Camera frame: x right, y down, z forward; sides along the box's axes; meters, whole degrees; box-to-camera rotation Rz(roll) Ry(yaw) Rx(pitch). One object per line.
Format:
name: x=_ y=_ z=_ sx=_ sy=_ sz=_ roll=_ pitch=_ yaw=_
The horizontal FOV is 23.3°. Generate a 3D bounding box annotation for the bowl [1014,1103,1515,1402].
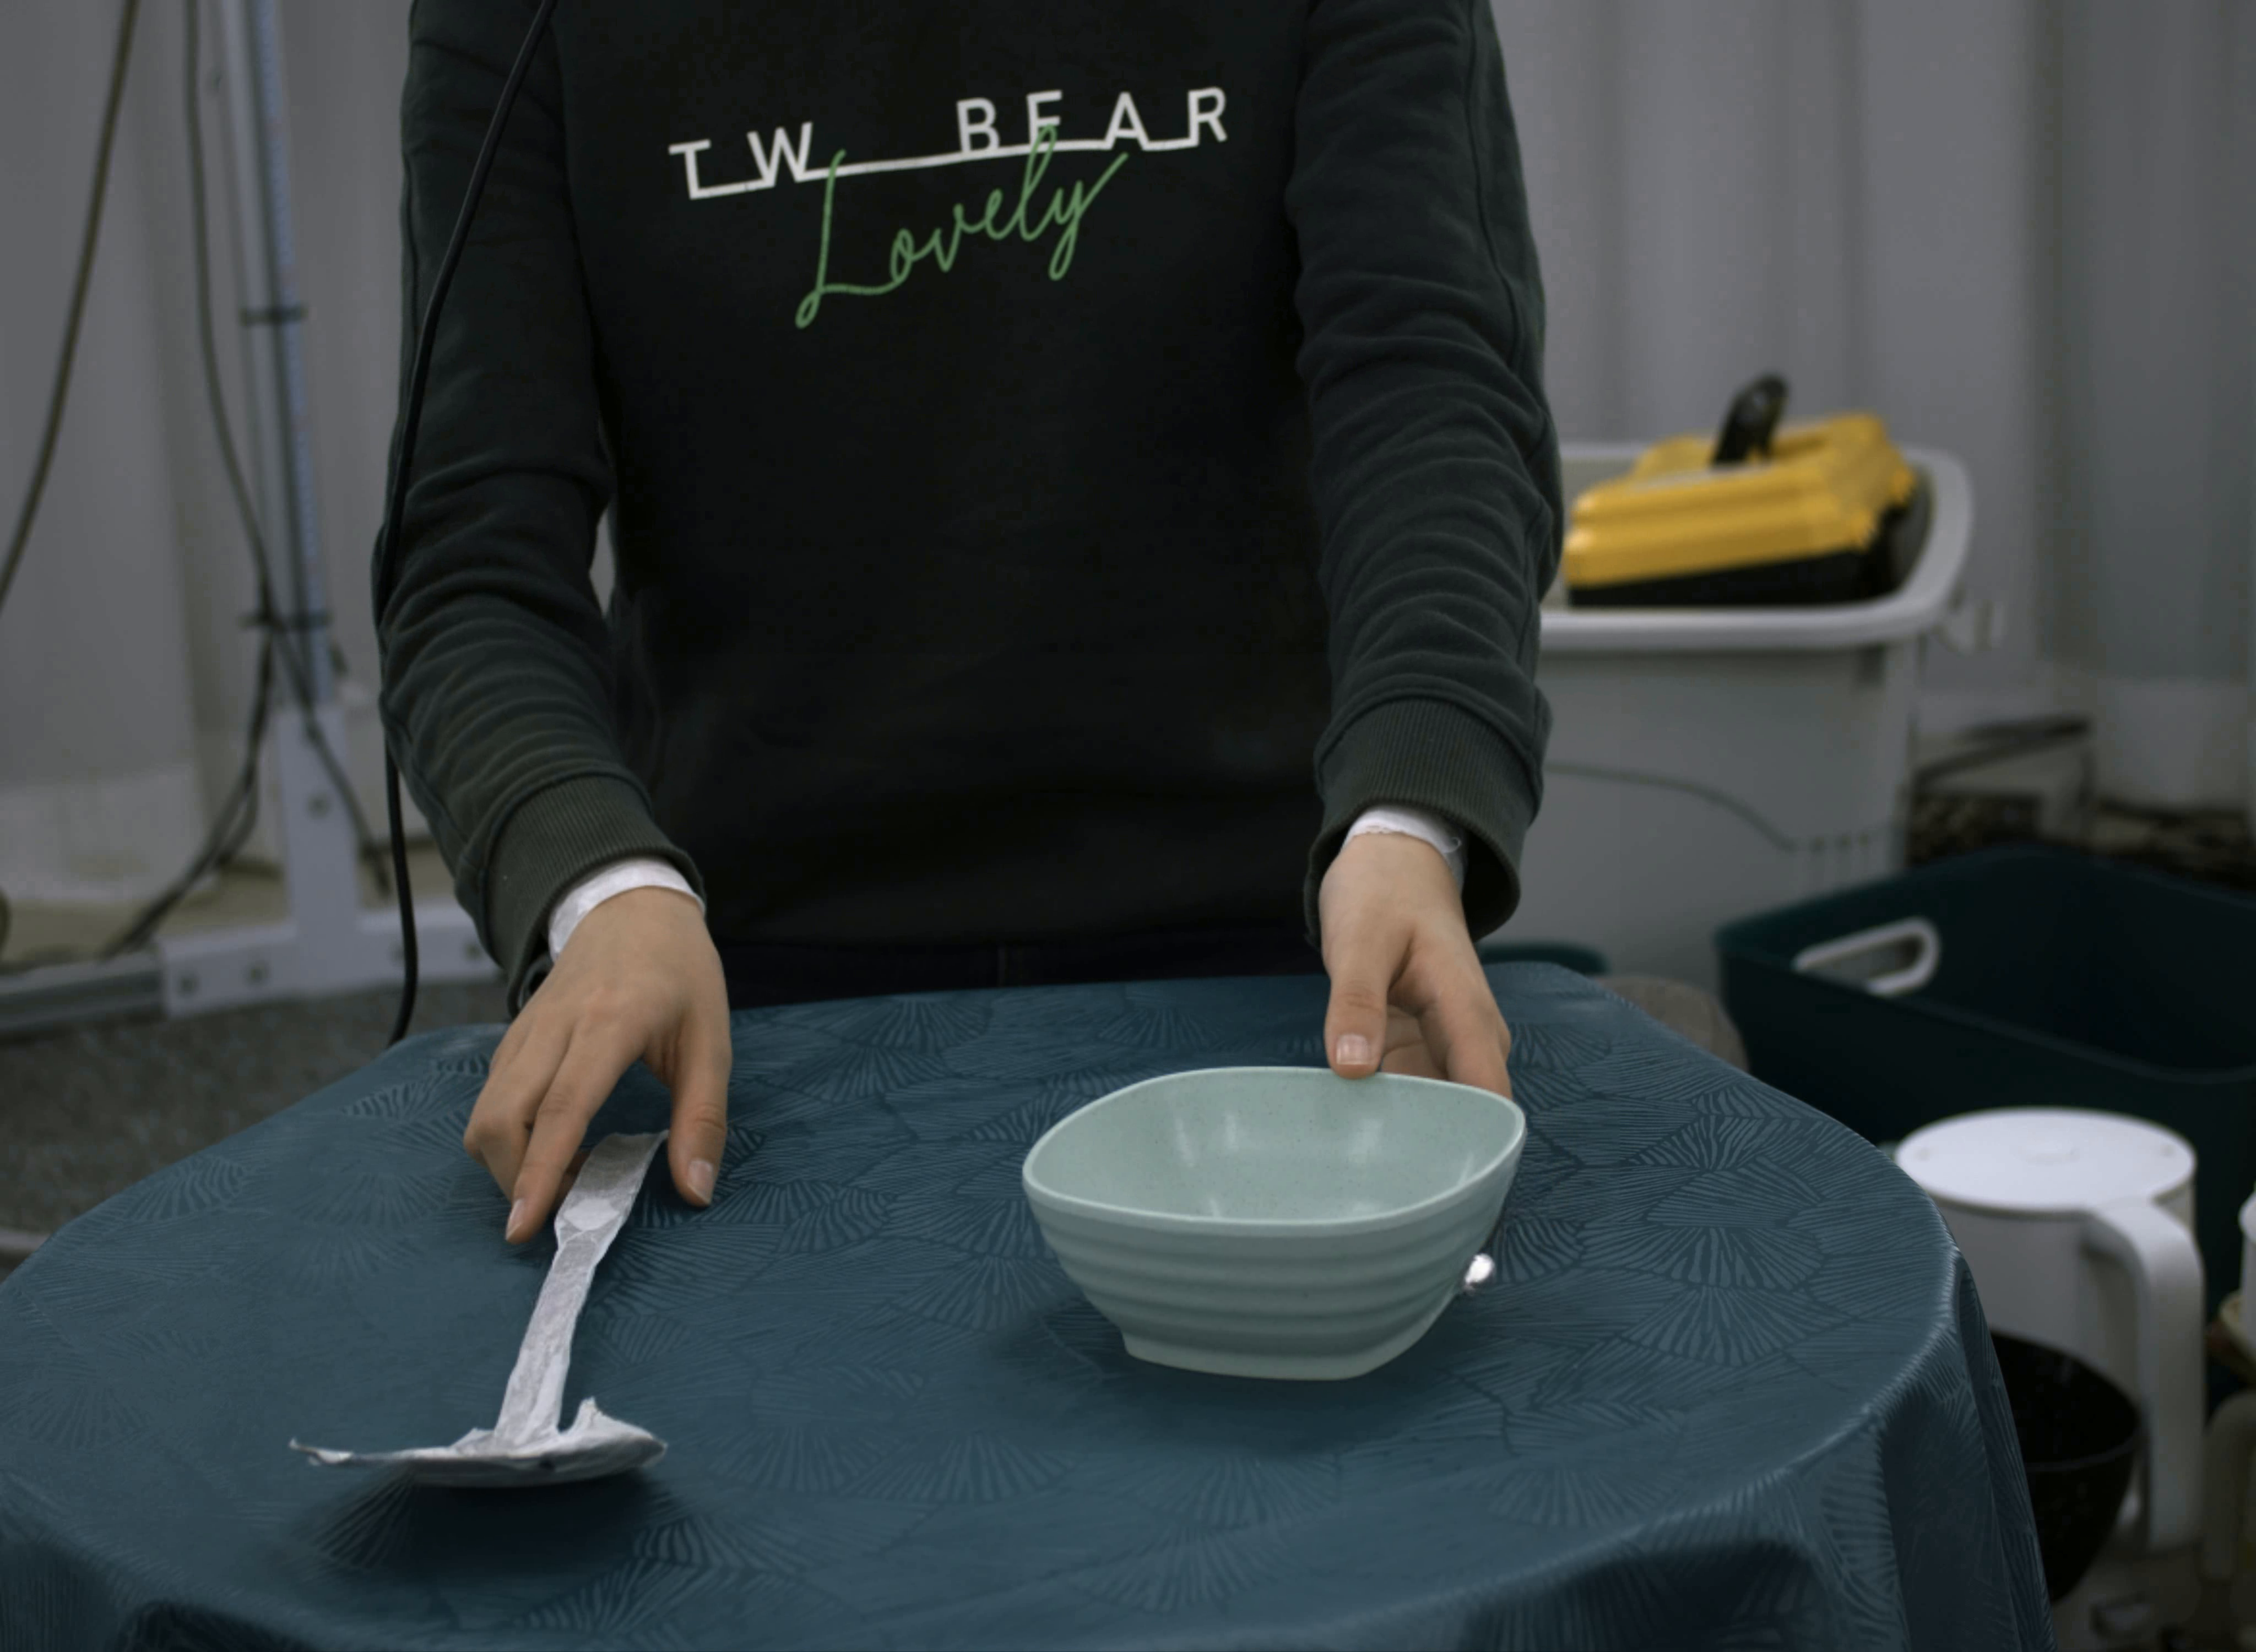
bowl: x=0.040 y=0.126 z=1.582 sx=0.151 sy=0.058 sz=0.152 roll=0 pitch=11 yaw=0

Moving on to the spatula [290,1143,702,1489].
spatula: x=-0.162 y=0.134 z=1.598 sx=0.098 sy=0.044 sz=0.367 roll=-4 pitch=15 yaw=4
